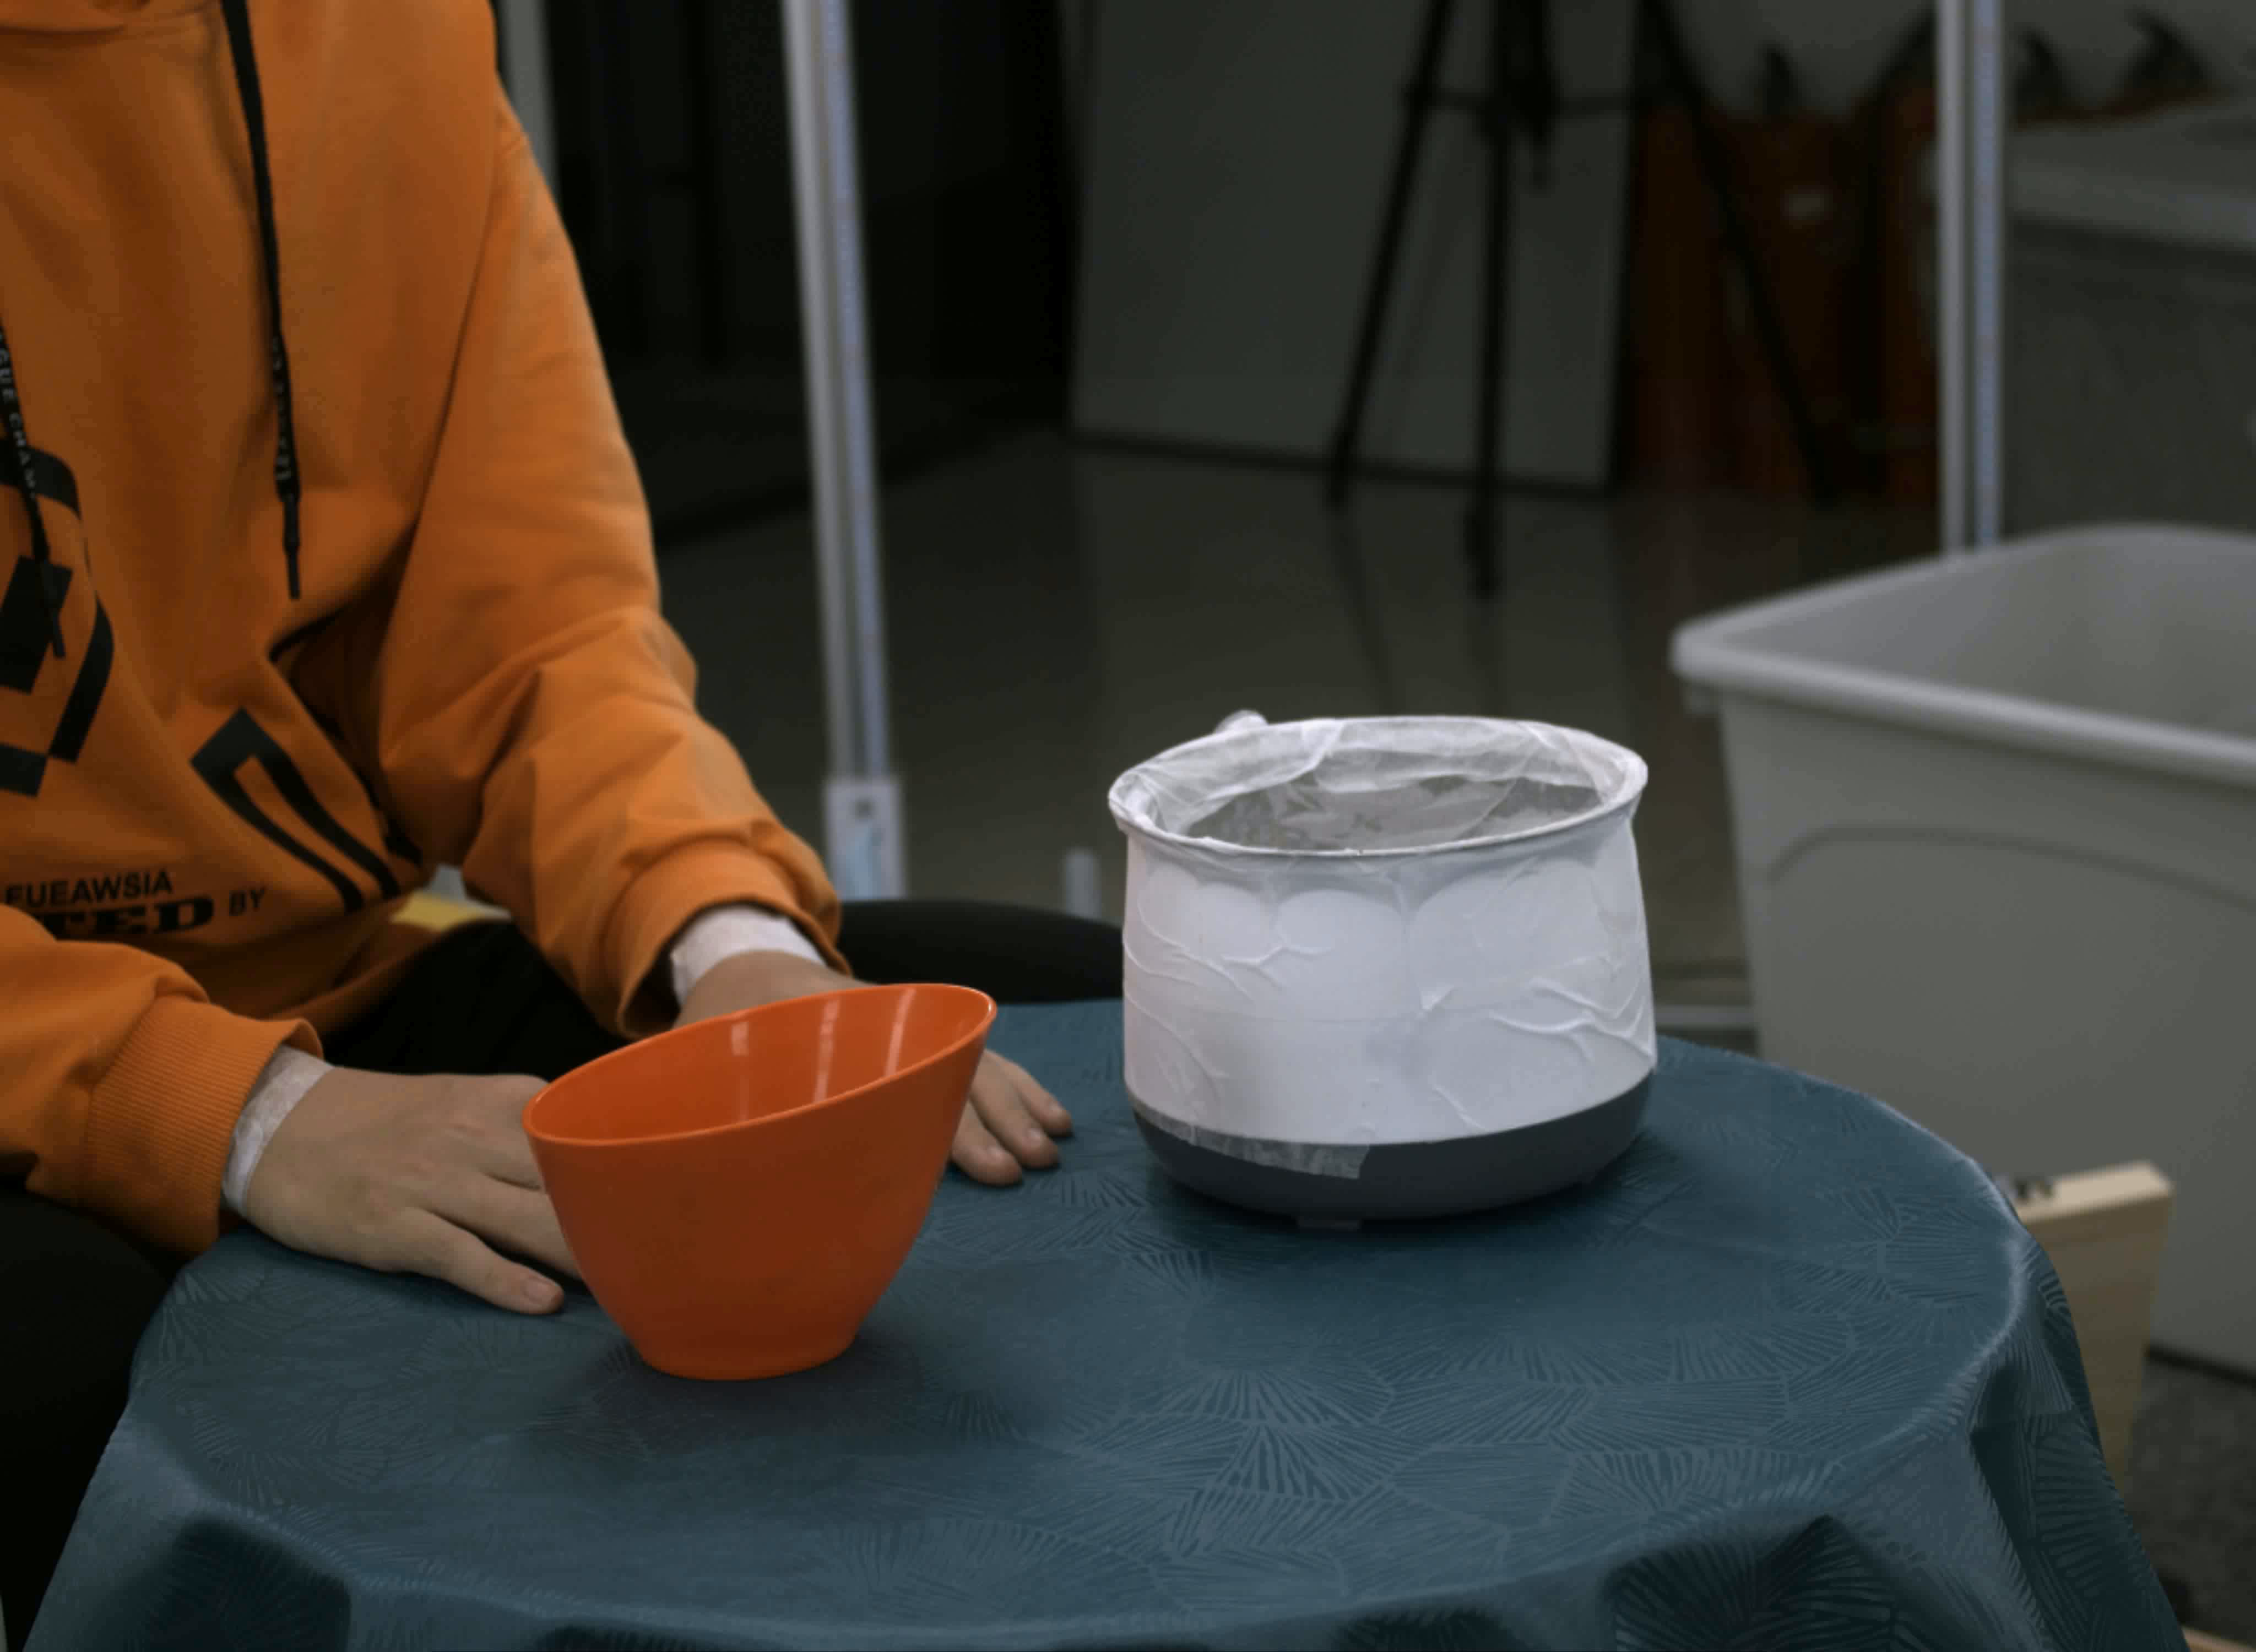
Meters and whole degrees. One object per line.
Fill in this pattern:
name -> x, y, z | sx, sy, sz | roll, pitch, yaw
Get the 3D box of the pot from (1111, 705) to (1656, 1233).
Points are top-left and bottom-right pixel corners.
pot -> 0.072, 0.040, 1.787 | 0.175, 0.138, 0.236 | -10, 15, -24

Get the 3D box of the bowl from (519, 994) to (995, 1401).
bowl -> -0.108, 0.114, 1.634 | 0.146, 0.106, 0.148 | -5, 13, 0
